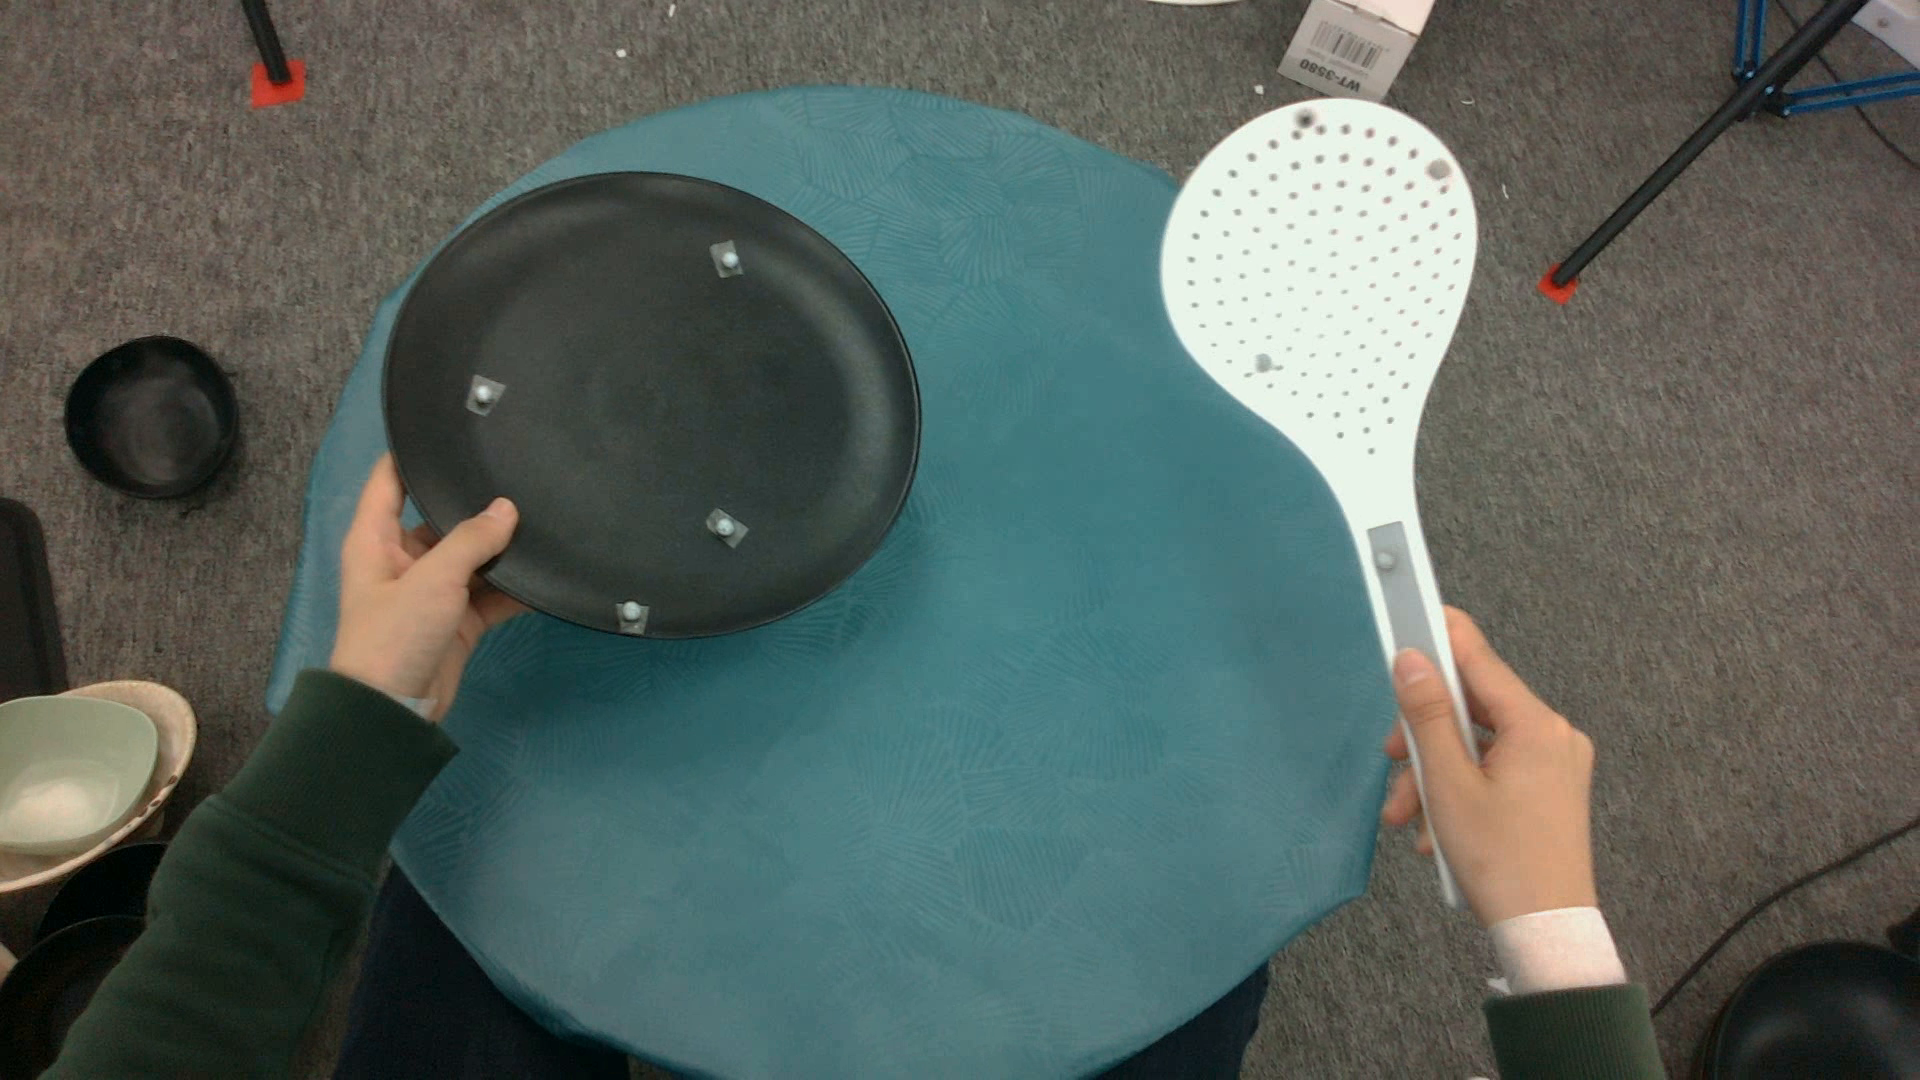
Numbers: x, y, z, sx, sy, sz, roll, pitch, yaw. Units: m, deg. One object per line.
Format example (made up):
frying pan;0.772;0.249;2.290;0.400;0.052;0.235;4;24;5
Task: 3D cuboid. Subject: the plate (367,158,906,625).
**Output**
plate;-0.145;-0.072;0.645;0.244;0.023;0.245;7;66;-15

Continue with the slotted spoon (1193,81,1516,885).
slotted spoon;0.185;-0.030;0.594;0.046;0.135;0.350;9;68;-46
